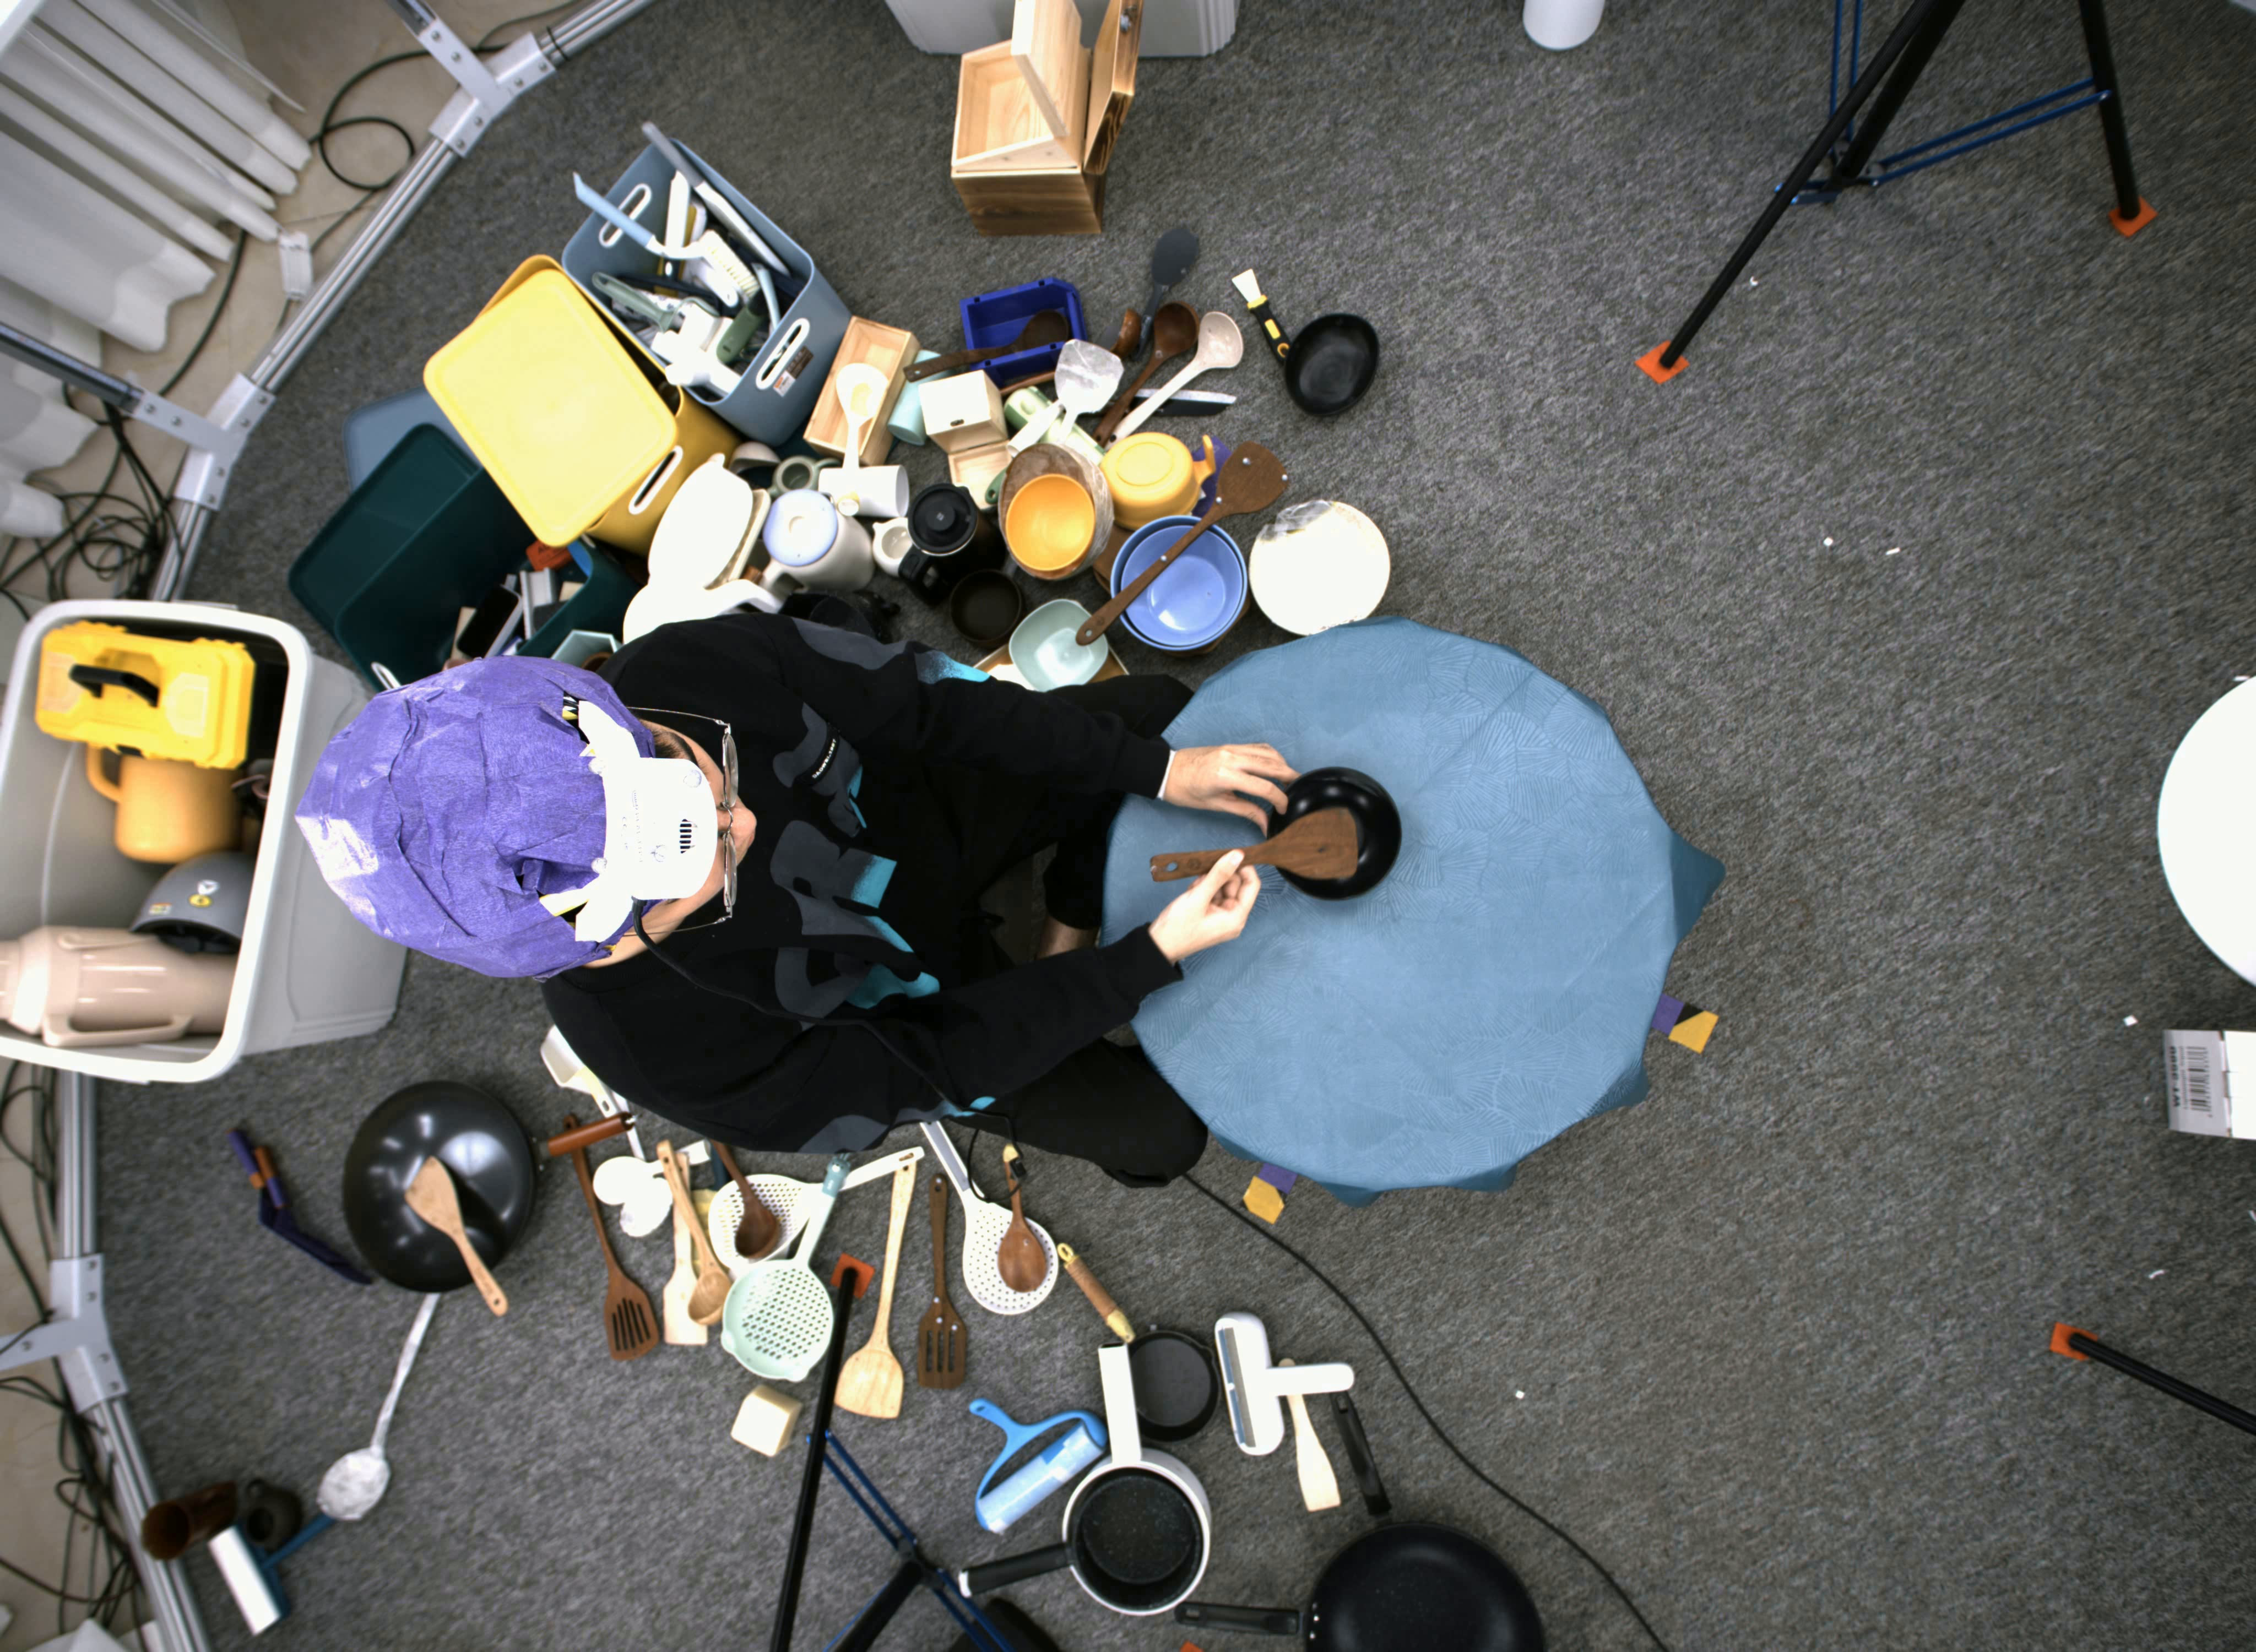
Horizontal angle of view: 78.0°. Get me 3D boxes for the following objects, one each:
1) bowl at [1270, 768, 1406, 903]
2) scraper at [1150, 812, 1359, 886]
[{"bbox_3d":[0.218,0.009,1.443,0.140,0.049,0.140,0,92,9],"label":"bowl"},{"bbox_3d":[0.126,0.033,1.383,0.211,0.010,0.077,-7,109,-3],"label":"scraper"}]
